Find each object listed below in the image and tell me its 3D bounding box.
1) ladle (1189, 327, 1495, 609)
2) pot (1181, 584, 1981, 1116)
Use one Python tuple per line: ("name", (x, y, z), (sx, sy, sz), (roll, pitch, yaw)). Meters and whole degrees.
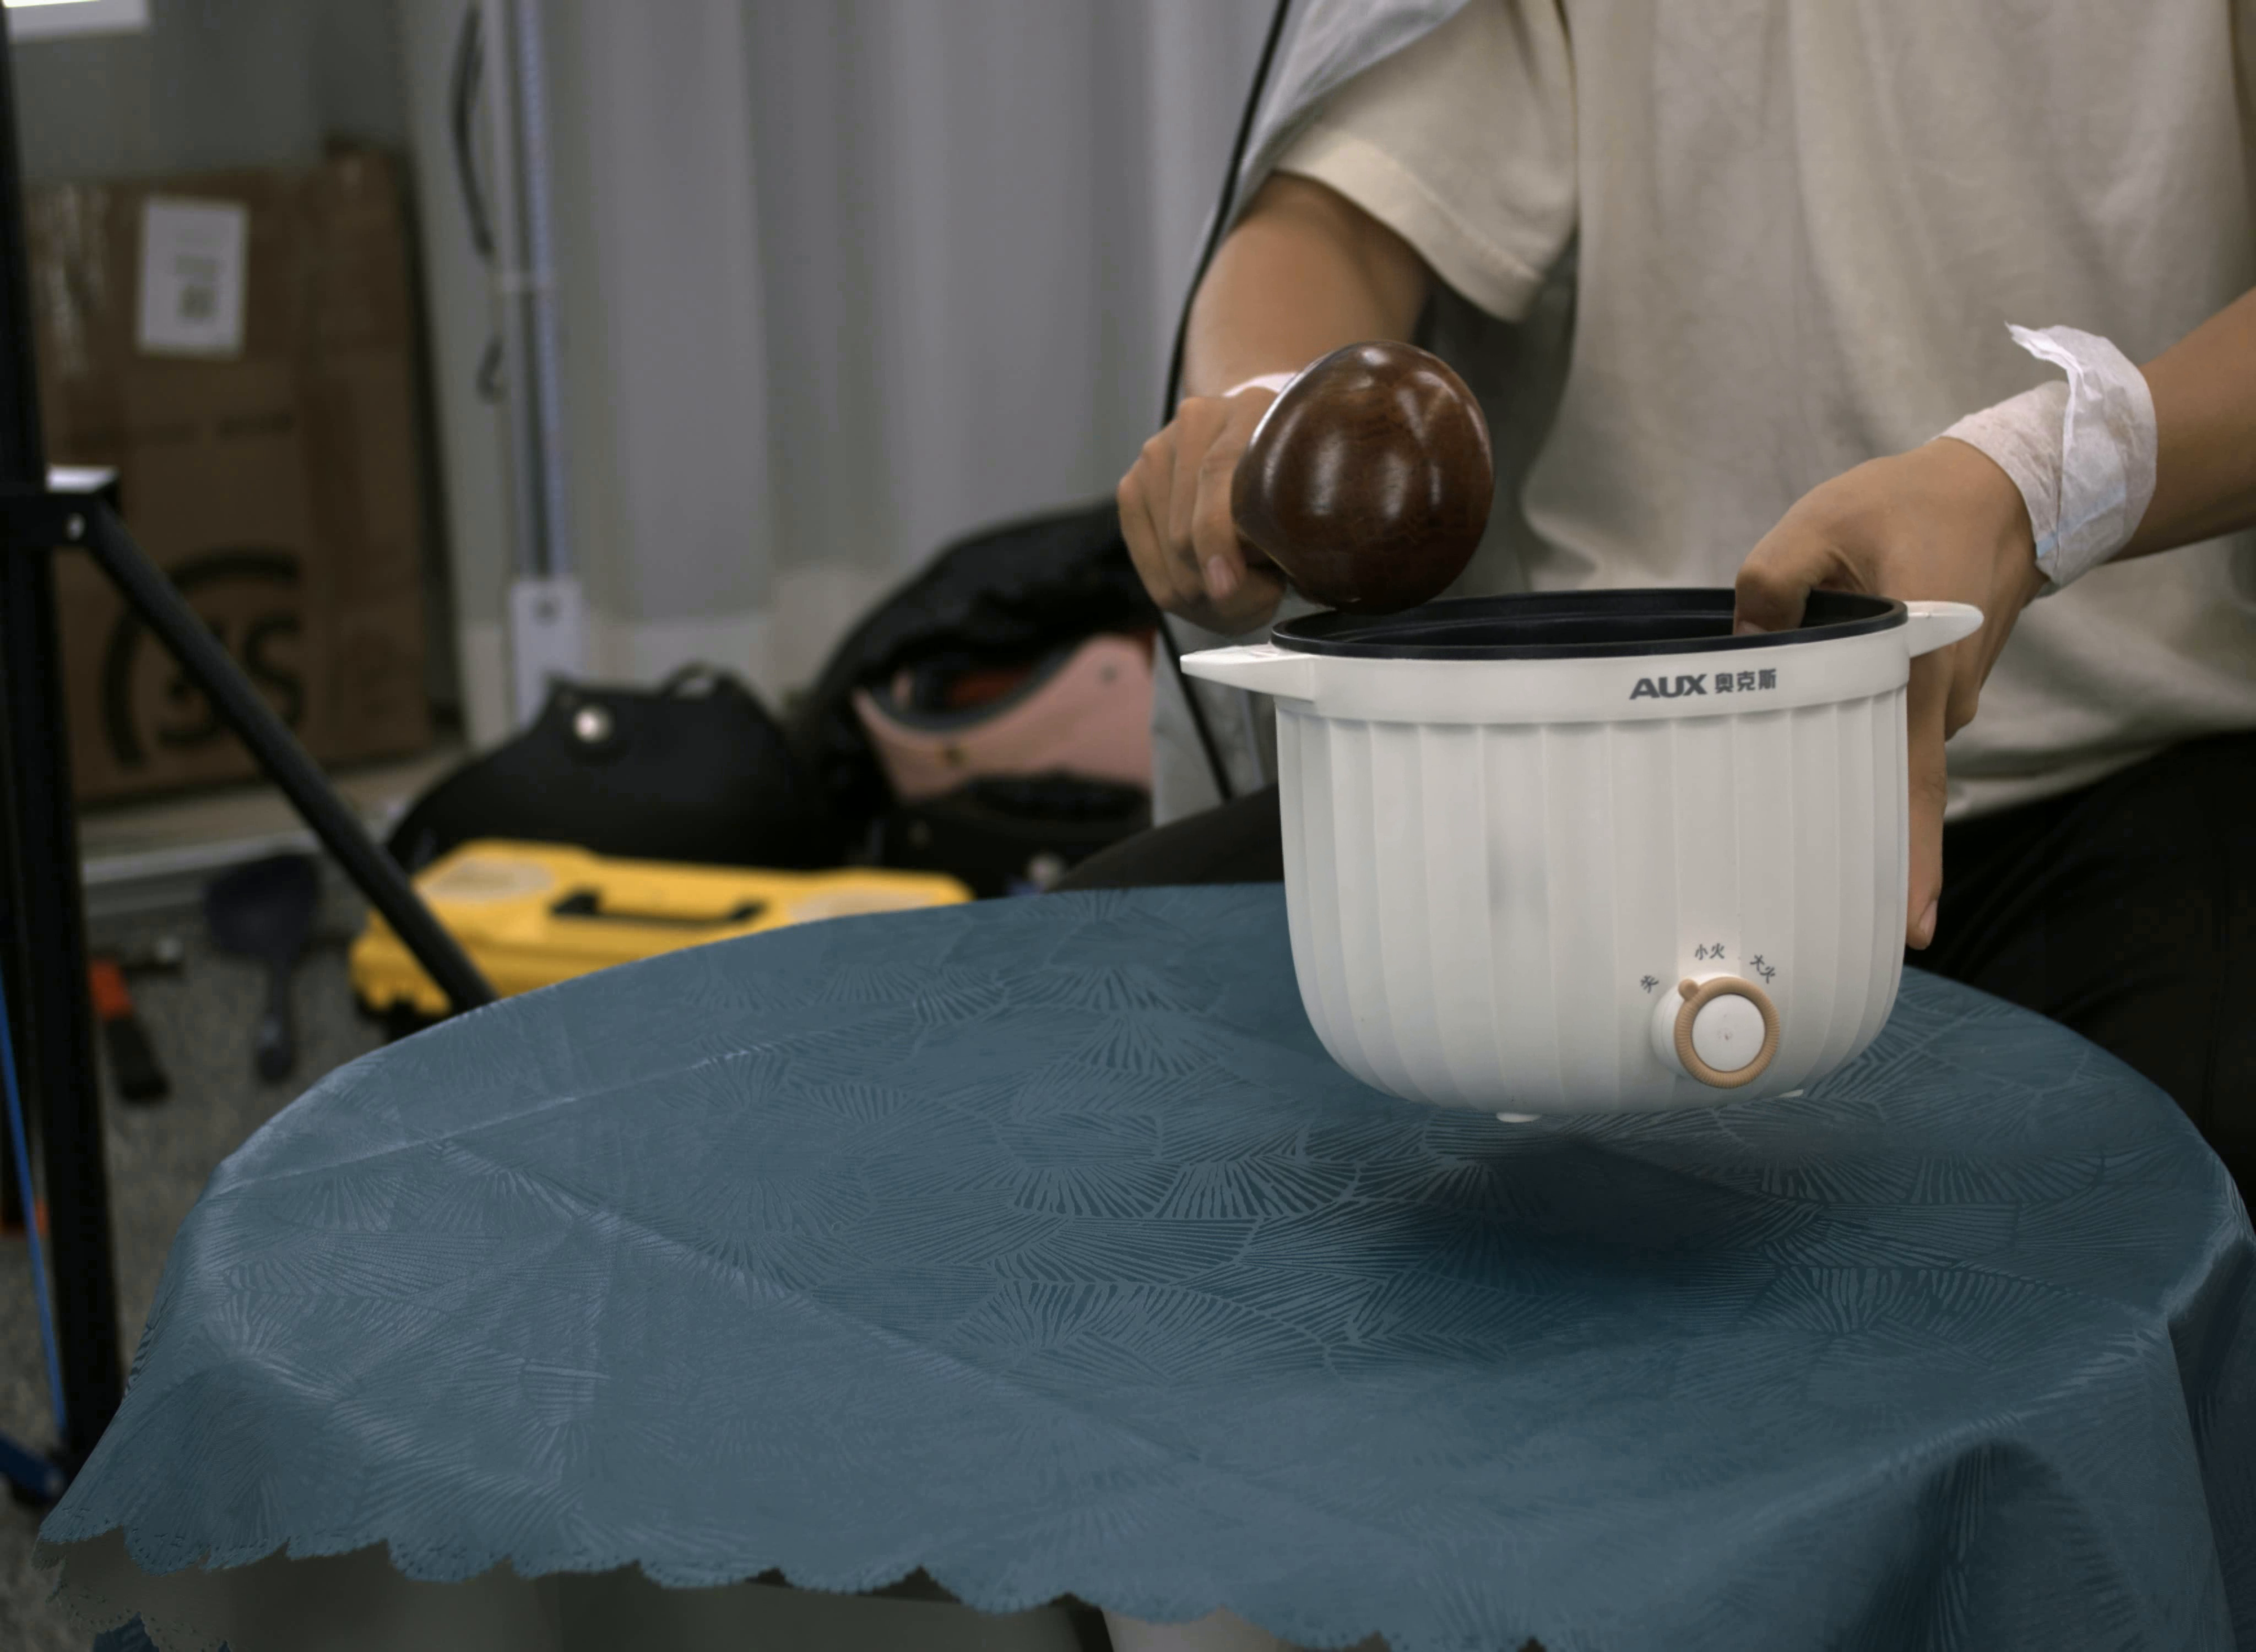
("ladle", (0.064, -0.096, 1.652), (0.076, 0.082, 0.274), (5, -5, -1))
("pot", (0.136, 0.006, 1.503), (0.237, 0.143, 0.192), (-5, 3, -14))
